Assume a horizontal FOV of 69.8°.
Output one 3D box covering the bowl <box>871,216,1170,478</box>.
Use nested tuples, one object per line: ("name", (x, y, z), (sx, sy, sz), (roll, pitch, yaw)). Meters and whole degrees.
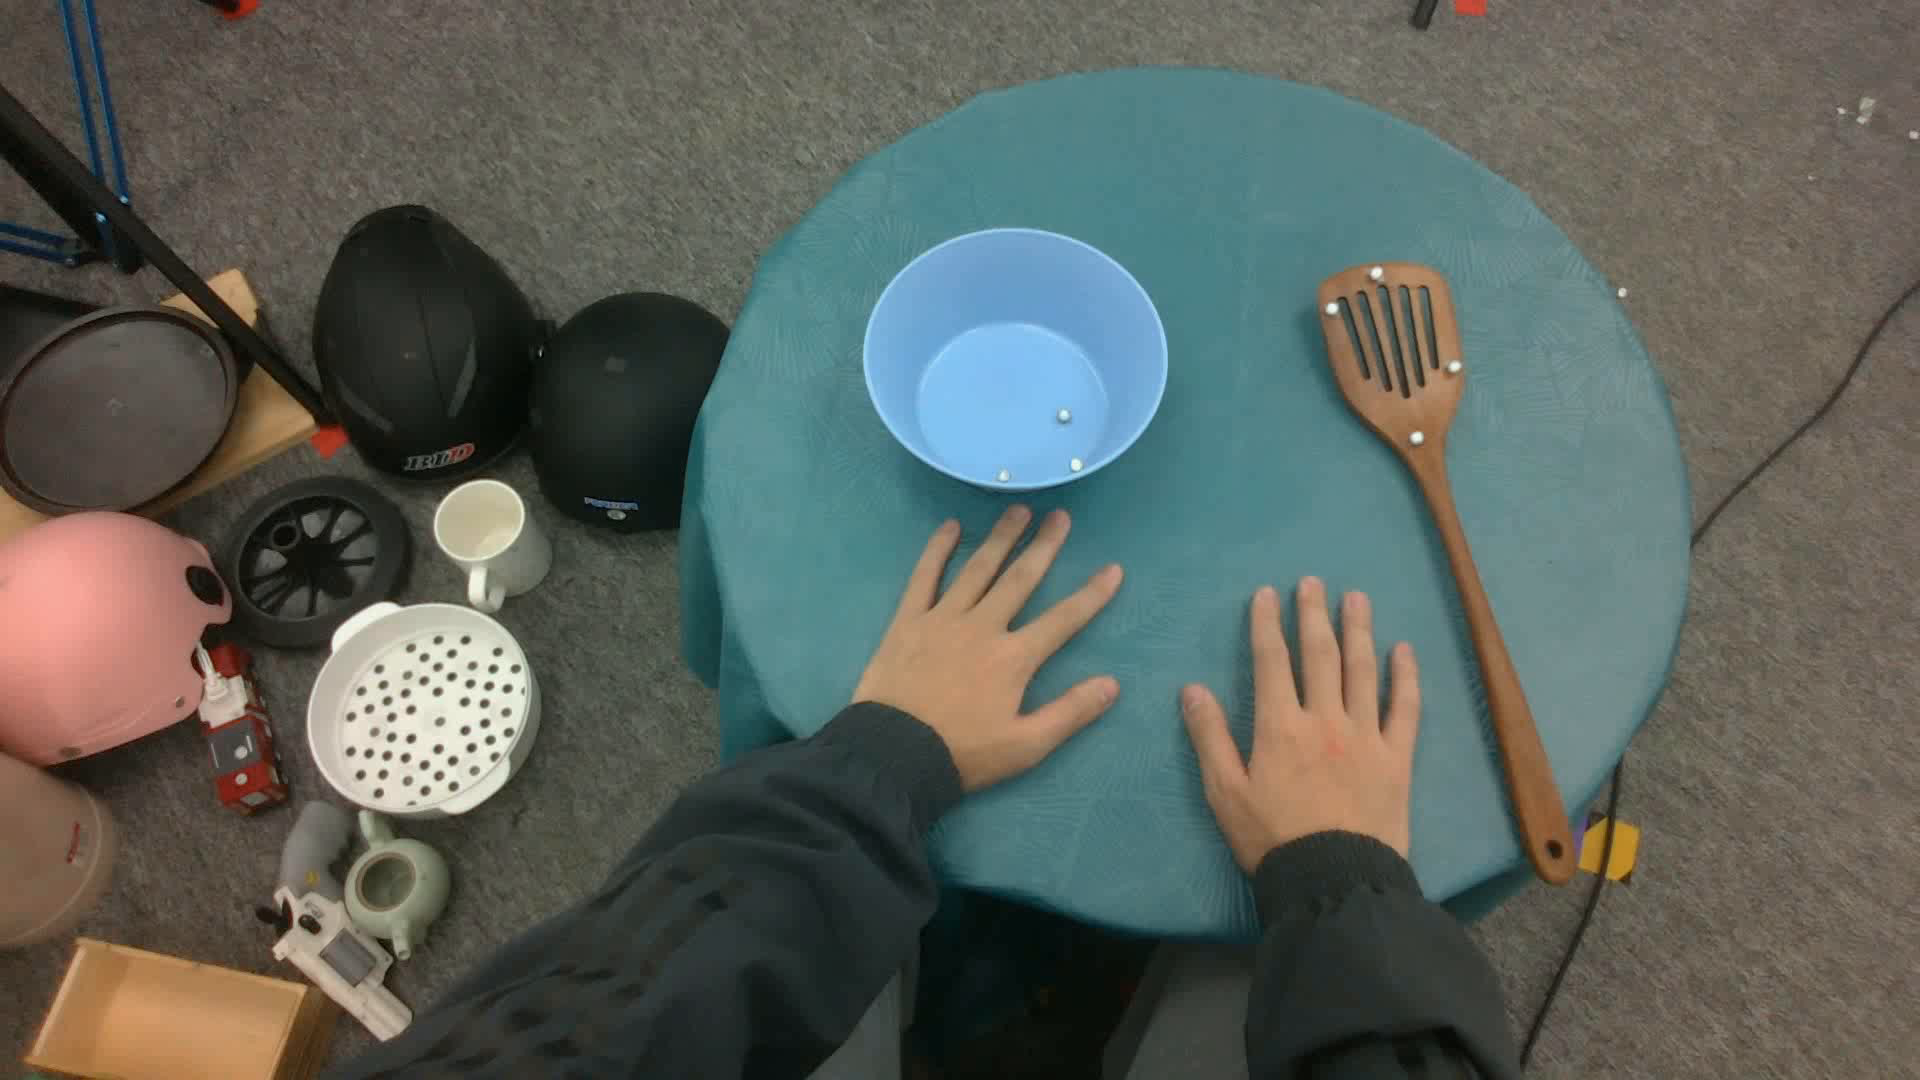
("bowl", (0.036, -0.105, 0.833), (0.176, 0.070, 0.176), (0, 67, 0))

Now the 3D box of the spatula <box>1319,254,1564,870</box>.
("spatula", (0.291, 0.000, 0.813), (0.085, 0.024, 0.388), (-7, 68, -2))
